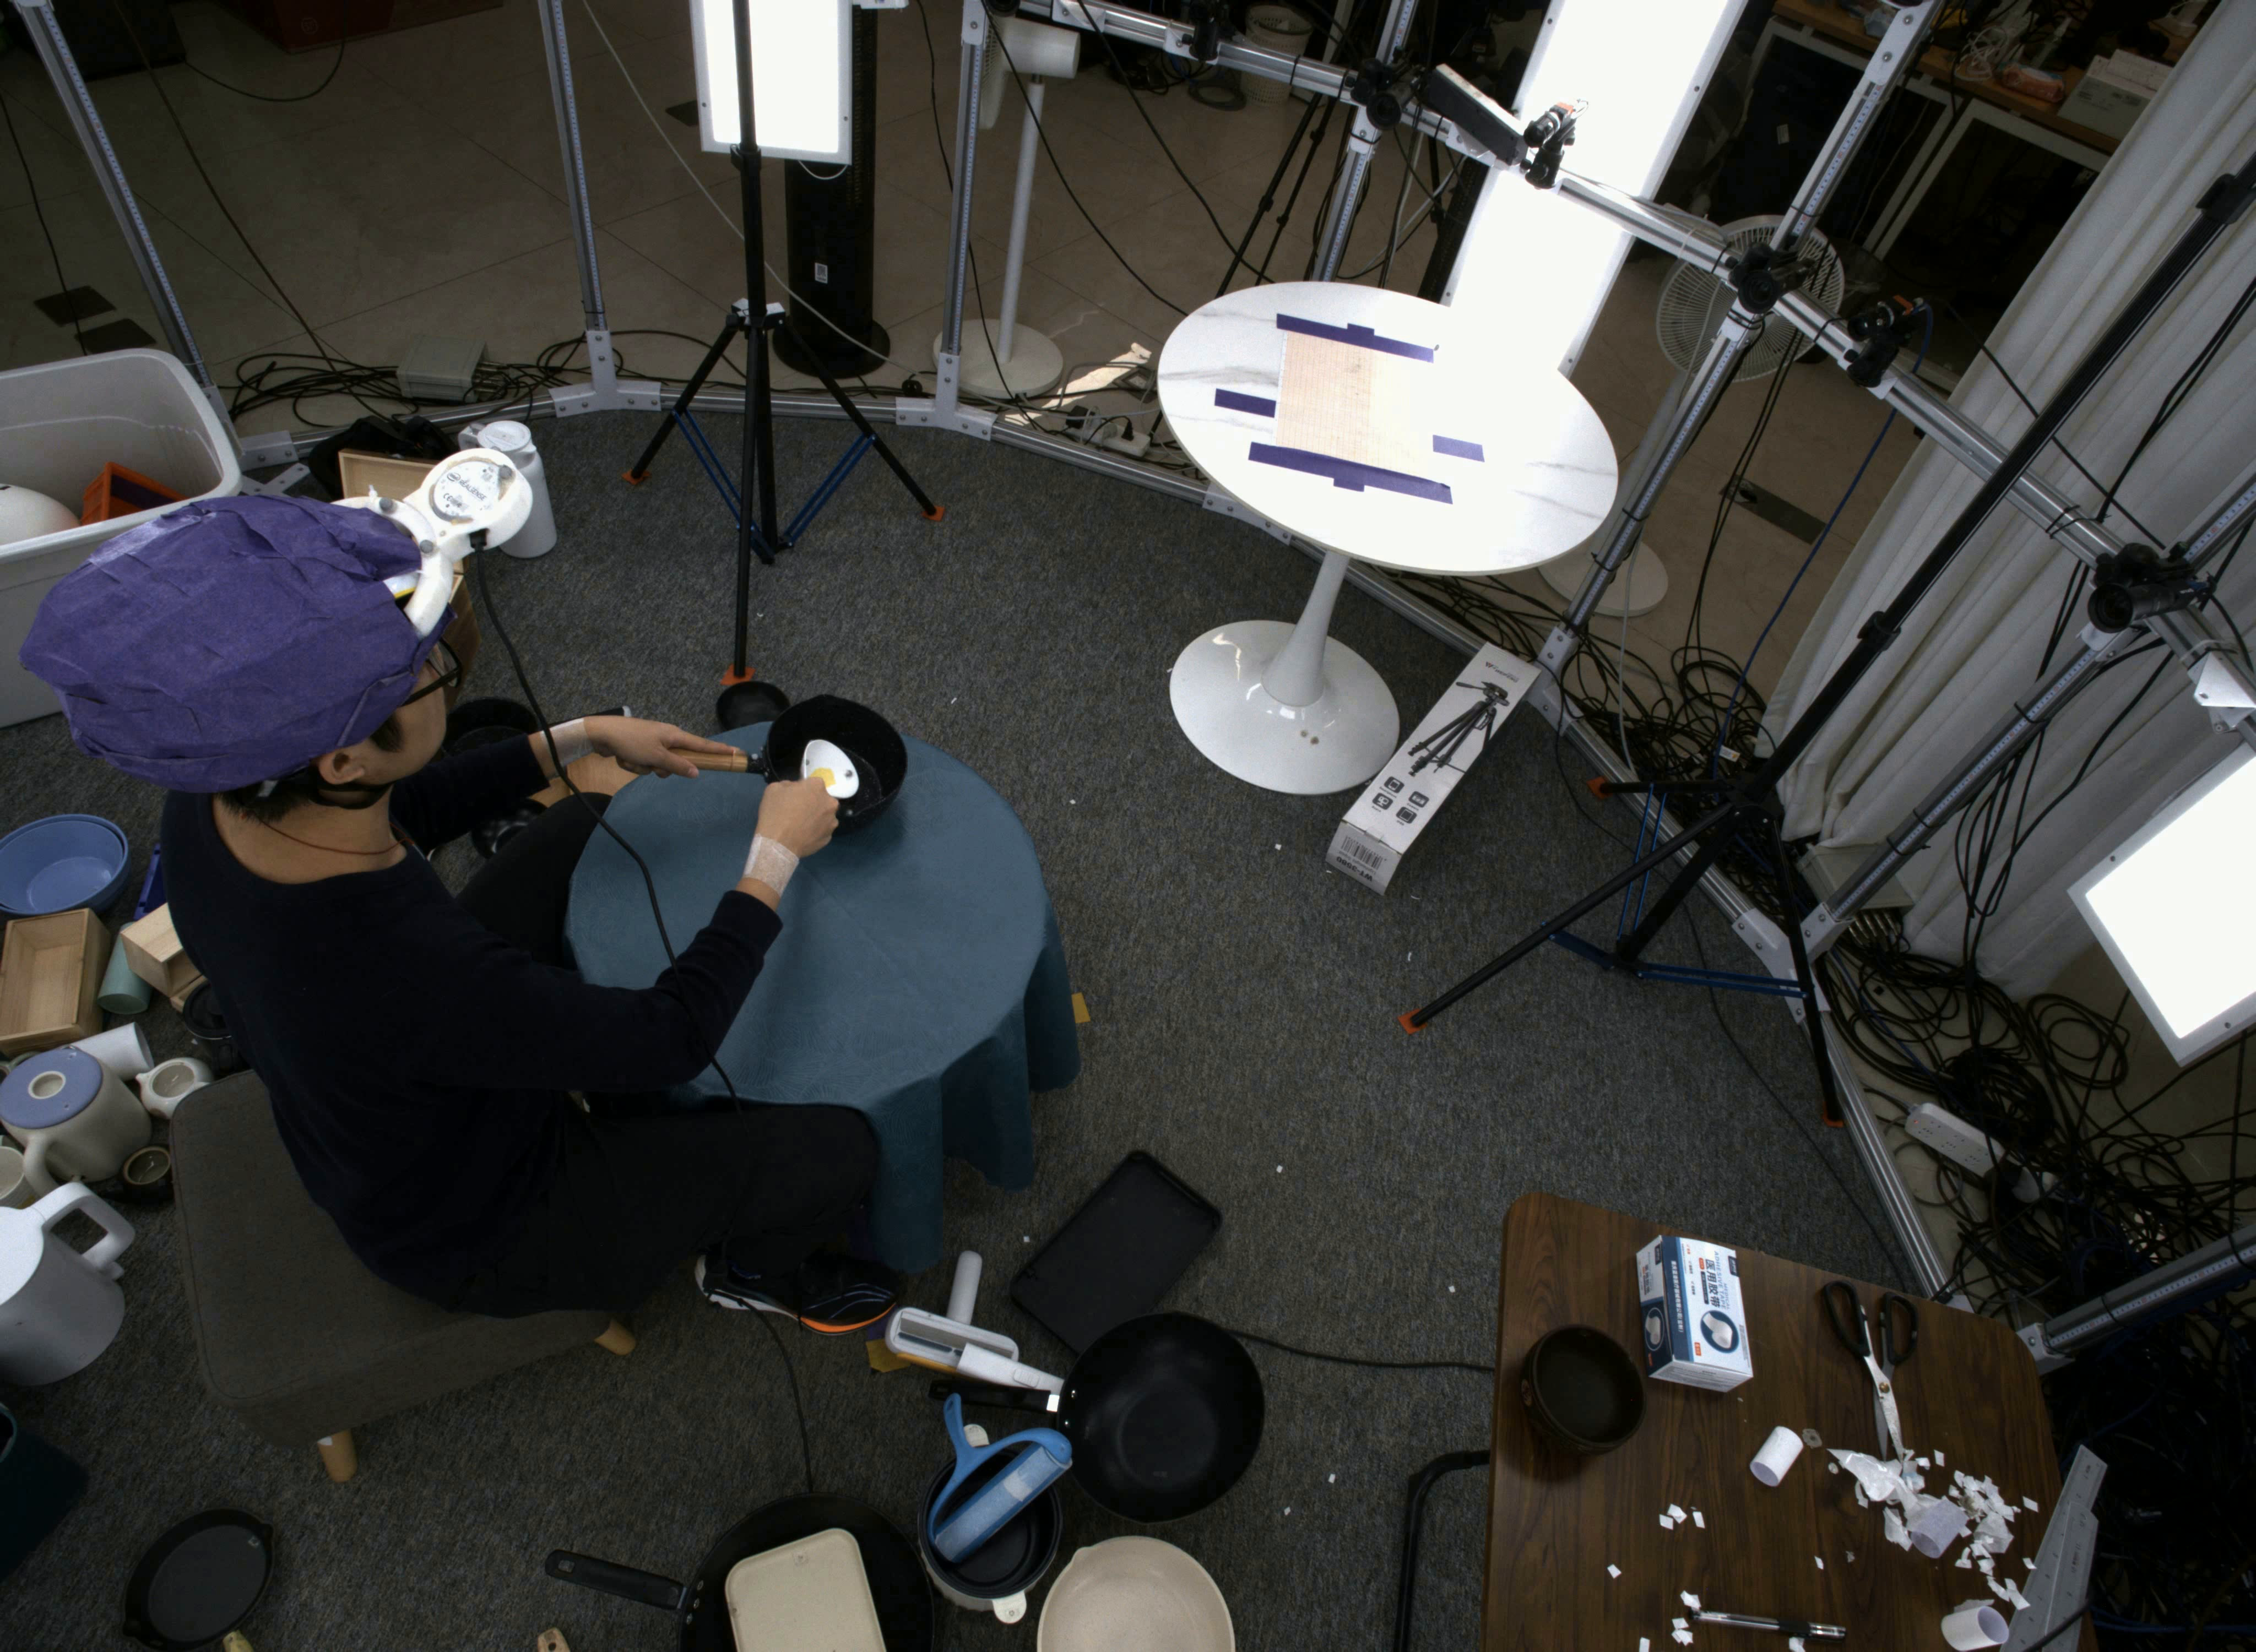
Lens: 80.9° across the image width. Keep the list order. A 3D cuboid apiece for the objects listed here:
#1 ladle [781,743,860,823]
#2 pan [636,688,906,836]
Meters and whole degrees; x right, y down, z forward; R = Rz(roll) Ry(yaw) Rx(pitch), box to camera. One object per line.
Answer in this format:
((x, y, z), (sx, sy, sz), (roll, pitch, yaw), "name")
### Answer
((-0.382, -0.048, 1.612), (0.069, 0.288, 0.092), (-30, 101, -3), "ladle")
((-0.459, -0.075, 1.663), (0.347, 0.109, 0.203), (-5, 60, -30), "pan")
